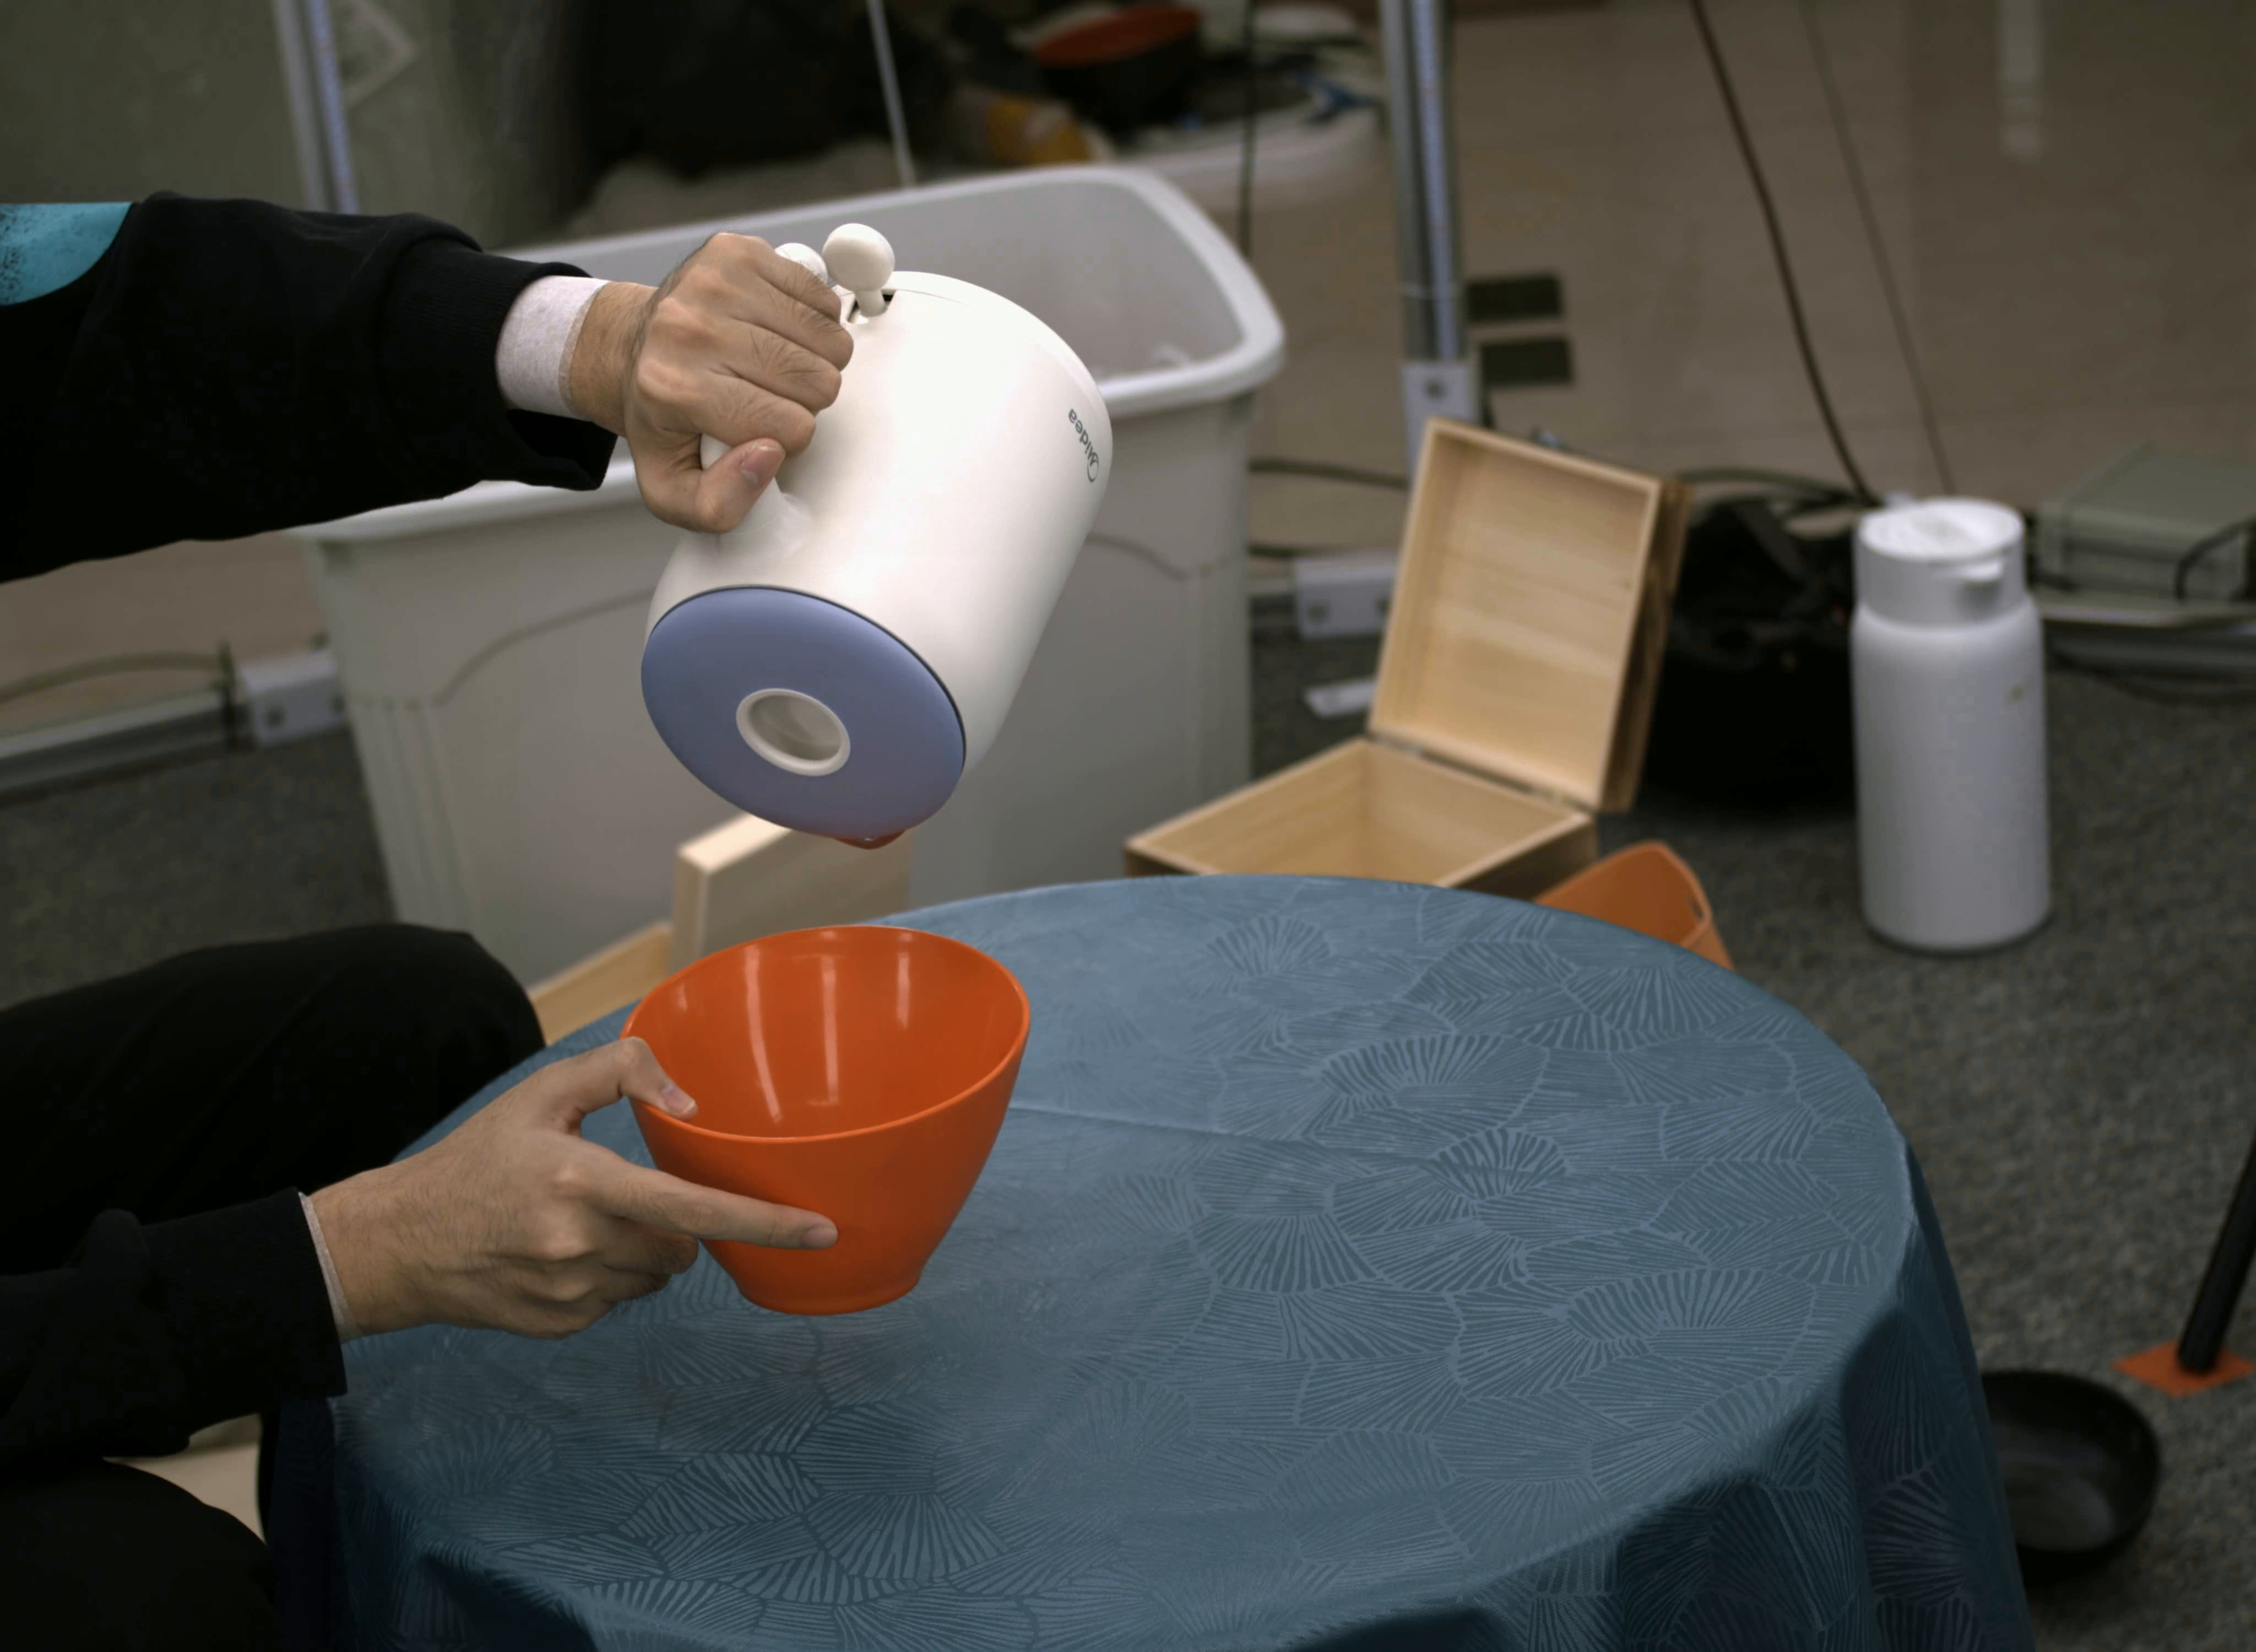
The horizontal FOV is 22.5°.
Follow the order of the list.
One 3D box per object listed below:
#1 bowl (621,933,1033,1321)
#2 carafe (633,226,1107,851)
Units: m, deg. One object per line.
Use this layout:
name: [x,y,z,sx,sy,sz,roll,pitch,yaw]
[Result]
bowl: [-0.105,0.112,2.027,0.148,0.106,0.146,-2,20,1]
carafe: [-0.100,-0.114,1.994,0.132,0.194,0.179,-3,42,26]
